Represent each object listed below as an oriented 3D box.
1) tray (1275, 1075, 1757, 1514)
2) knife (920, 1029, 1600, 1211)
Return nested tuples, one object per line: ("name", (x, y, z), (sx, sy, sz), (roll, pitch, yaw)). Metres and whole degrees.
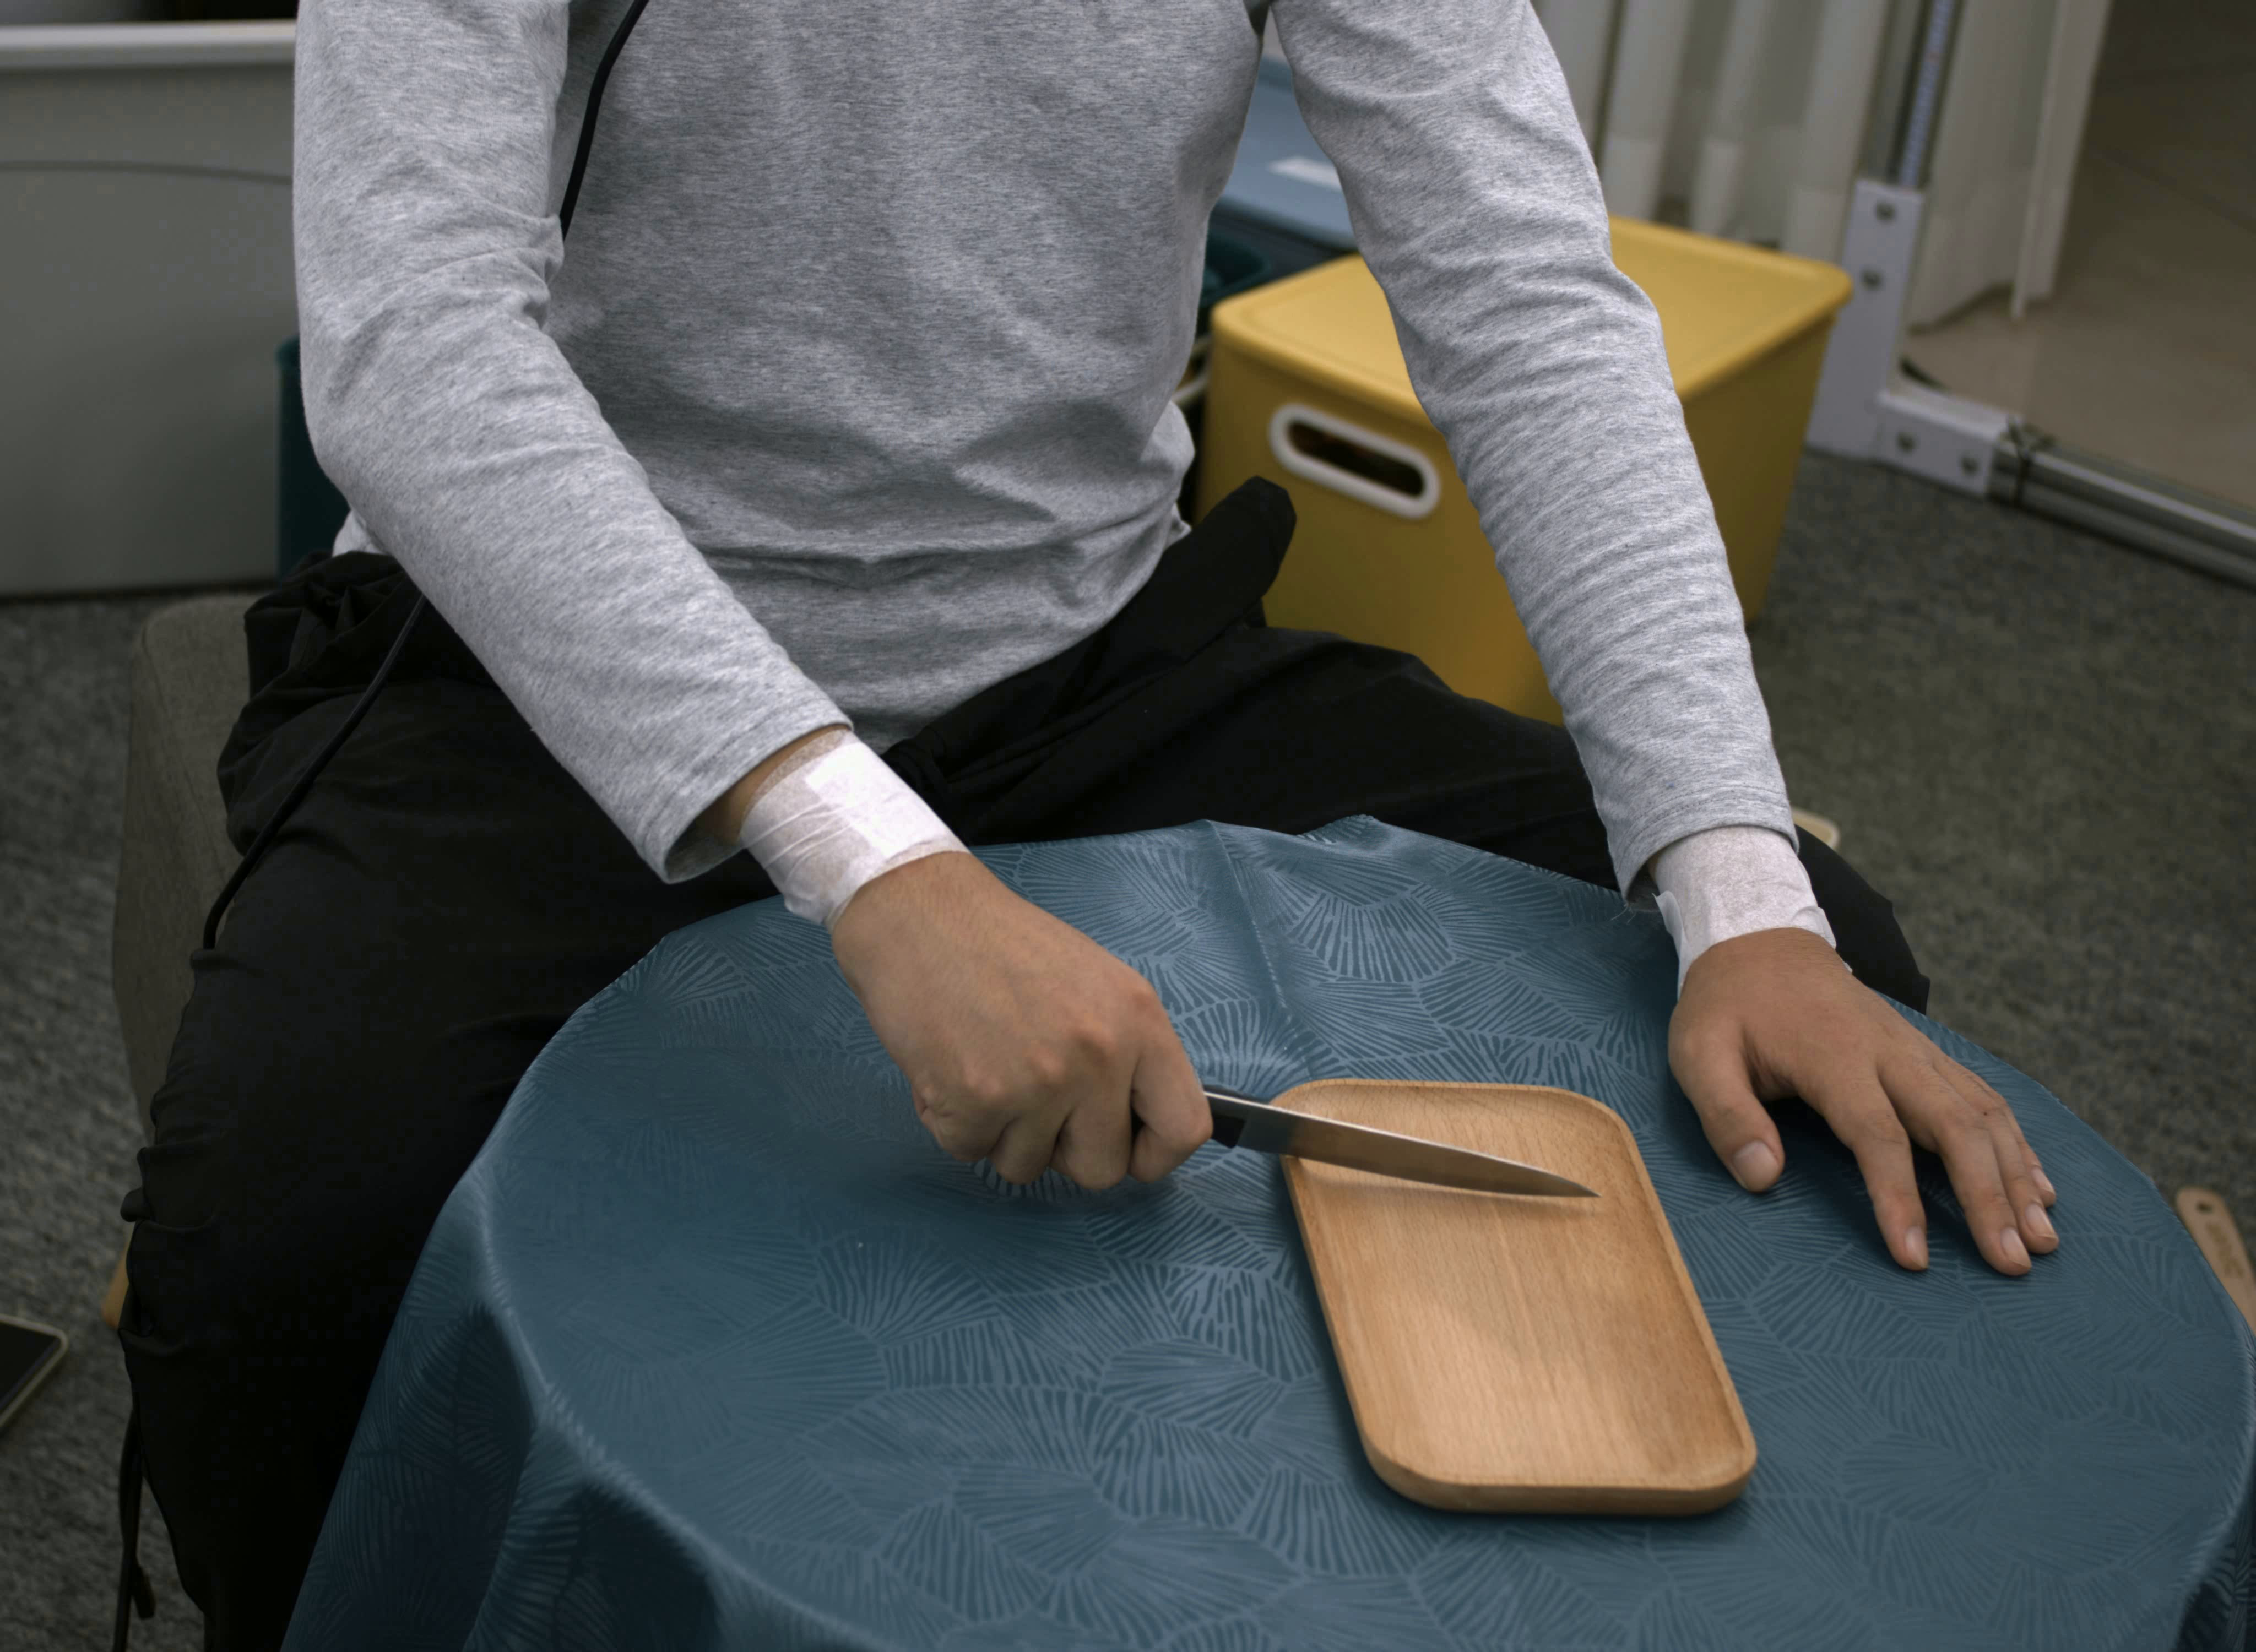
("tray", (0.124, 0.152, 1.759), (0.130, 0.023, 0.252), (5, 26, -9))
("knife", (0.047, 0.101, 1.798), (0.237, 0.024, 0.016), (13, 42, -5))
